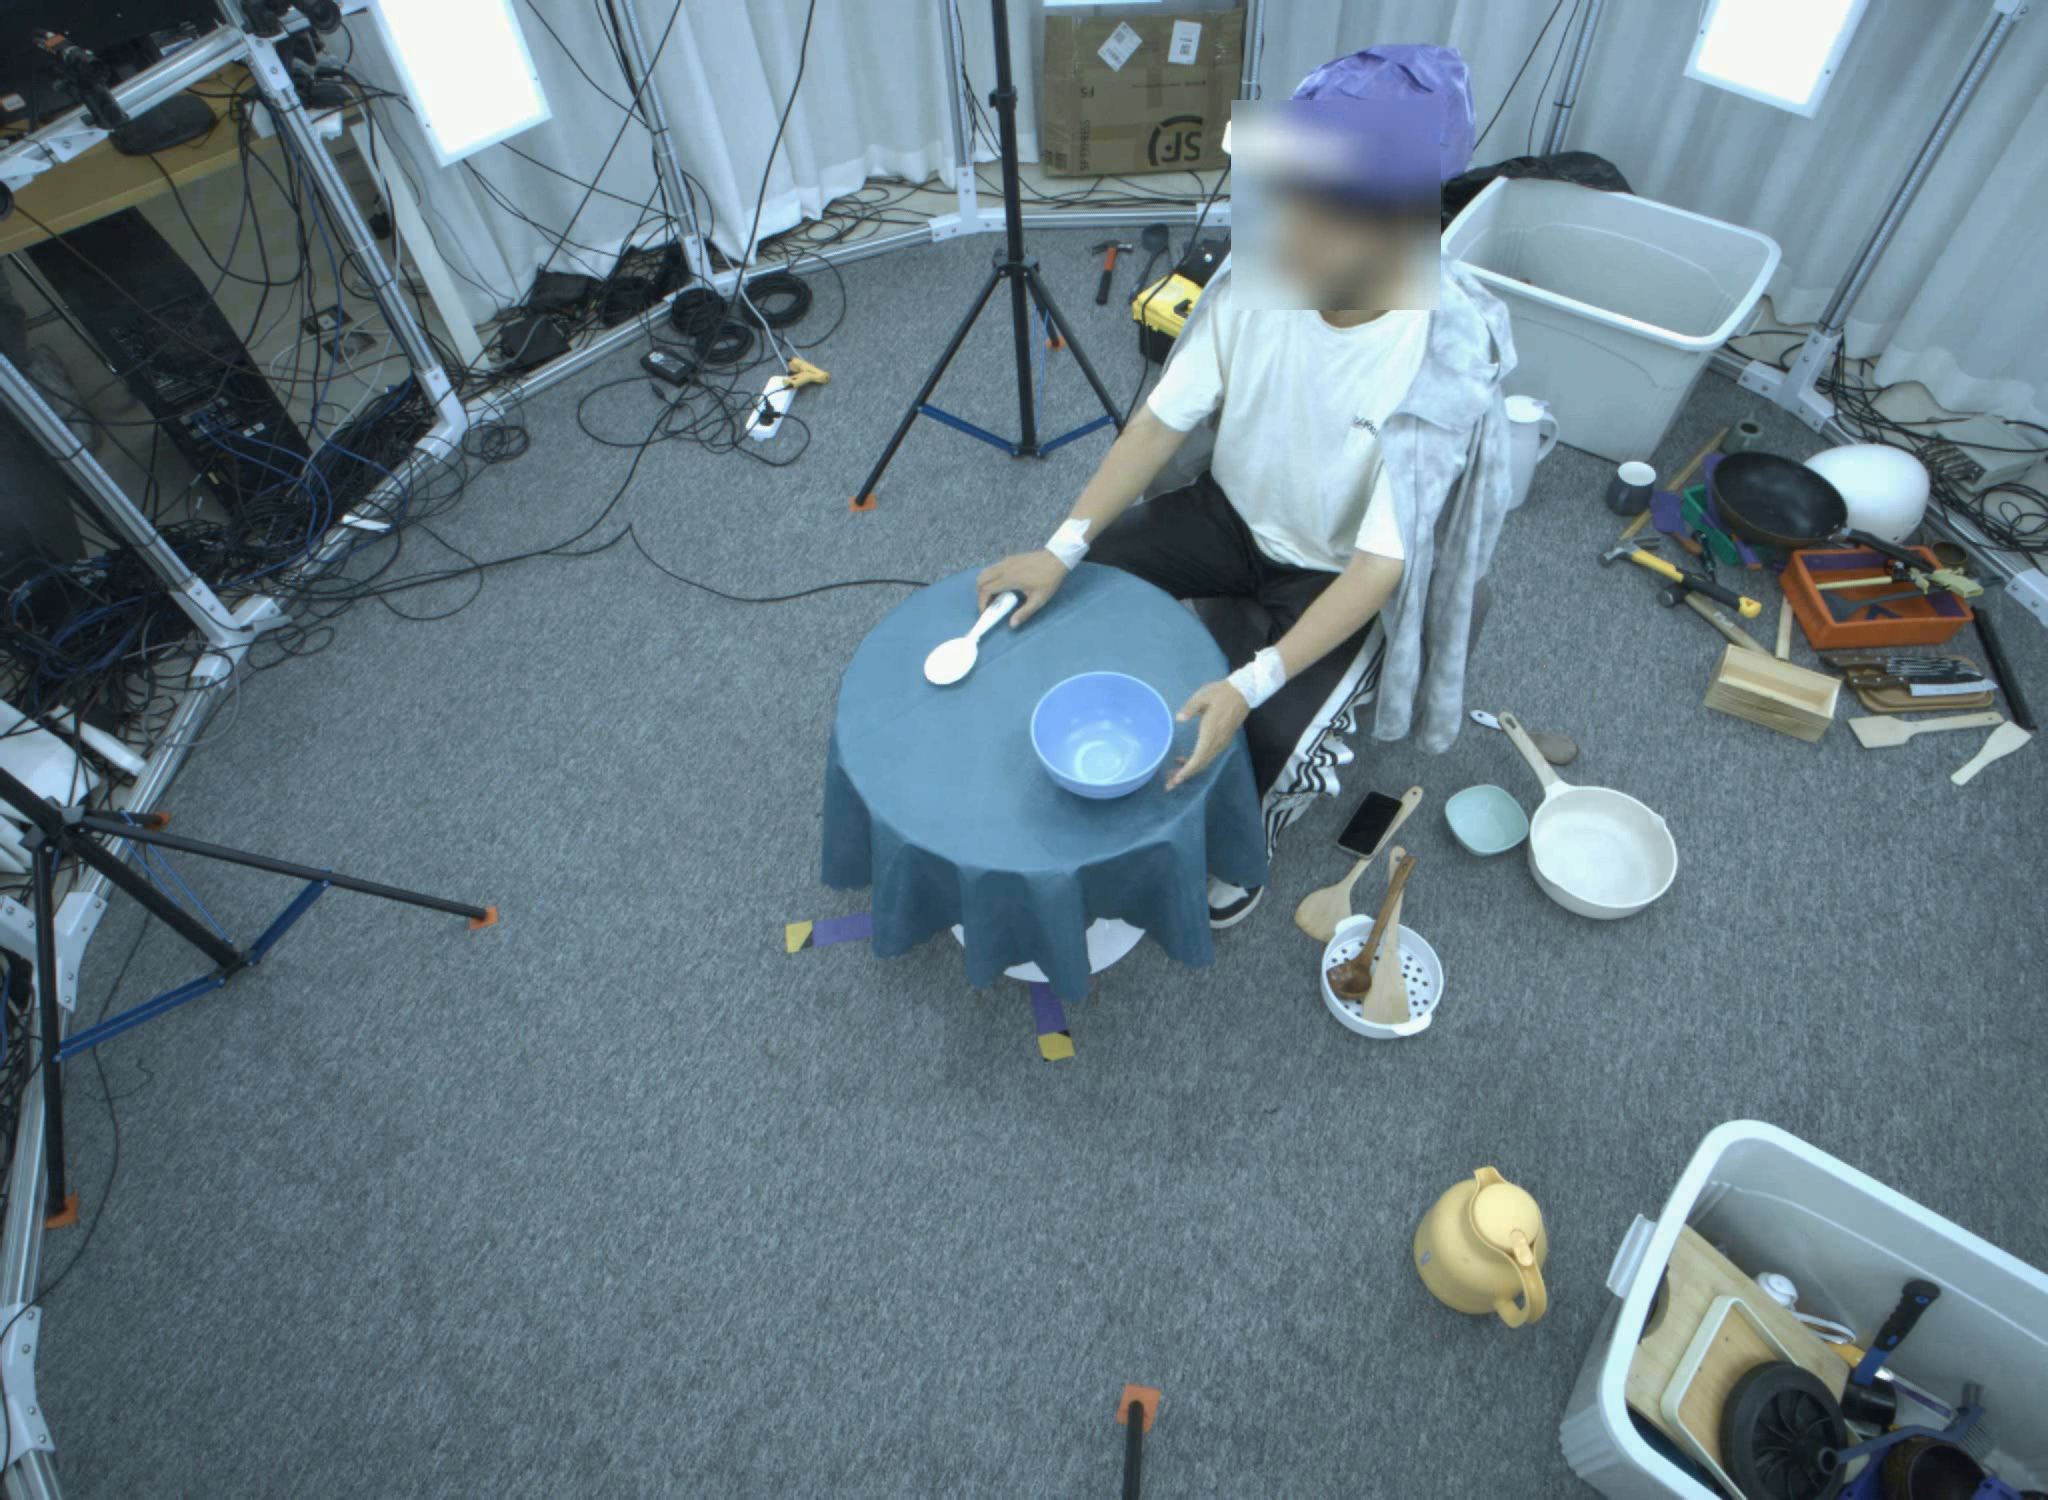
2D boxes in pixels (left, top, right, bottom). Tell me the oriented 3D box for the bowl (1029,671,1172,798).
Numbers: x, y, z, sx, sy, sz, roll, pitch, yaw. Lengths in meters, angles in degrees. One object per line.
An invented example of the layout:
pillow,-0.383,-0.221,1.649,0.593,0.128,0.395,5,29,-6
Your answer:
bowl,0.108,-0.007,1.731,0.196,0.096,0.194,-2,55,3

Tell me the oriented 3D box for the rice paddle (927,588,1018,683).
rice paddle,-0.078,-0.176,1.898,0.067,0.030,0.206,27,60,21
